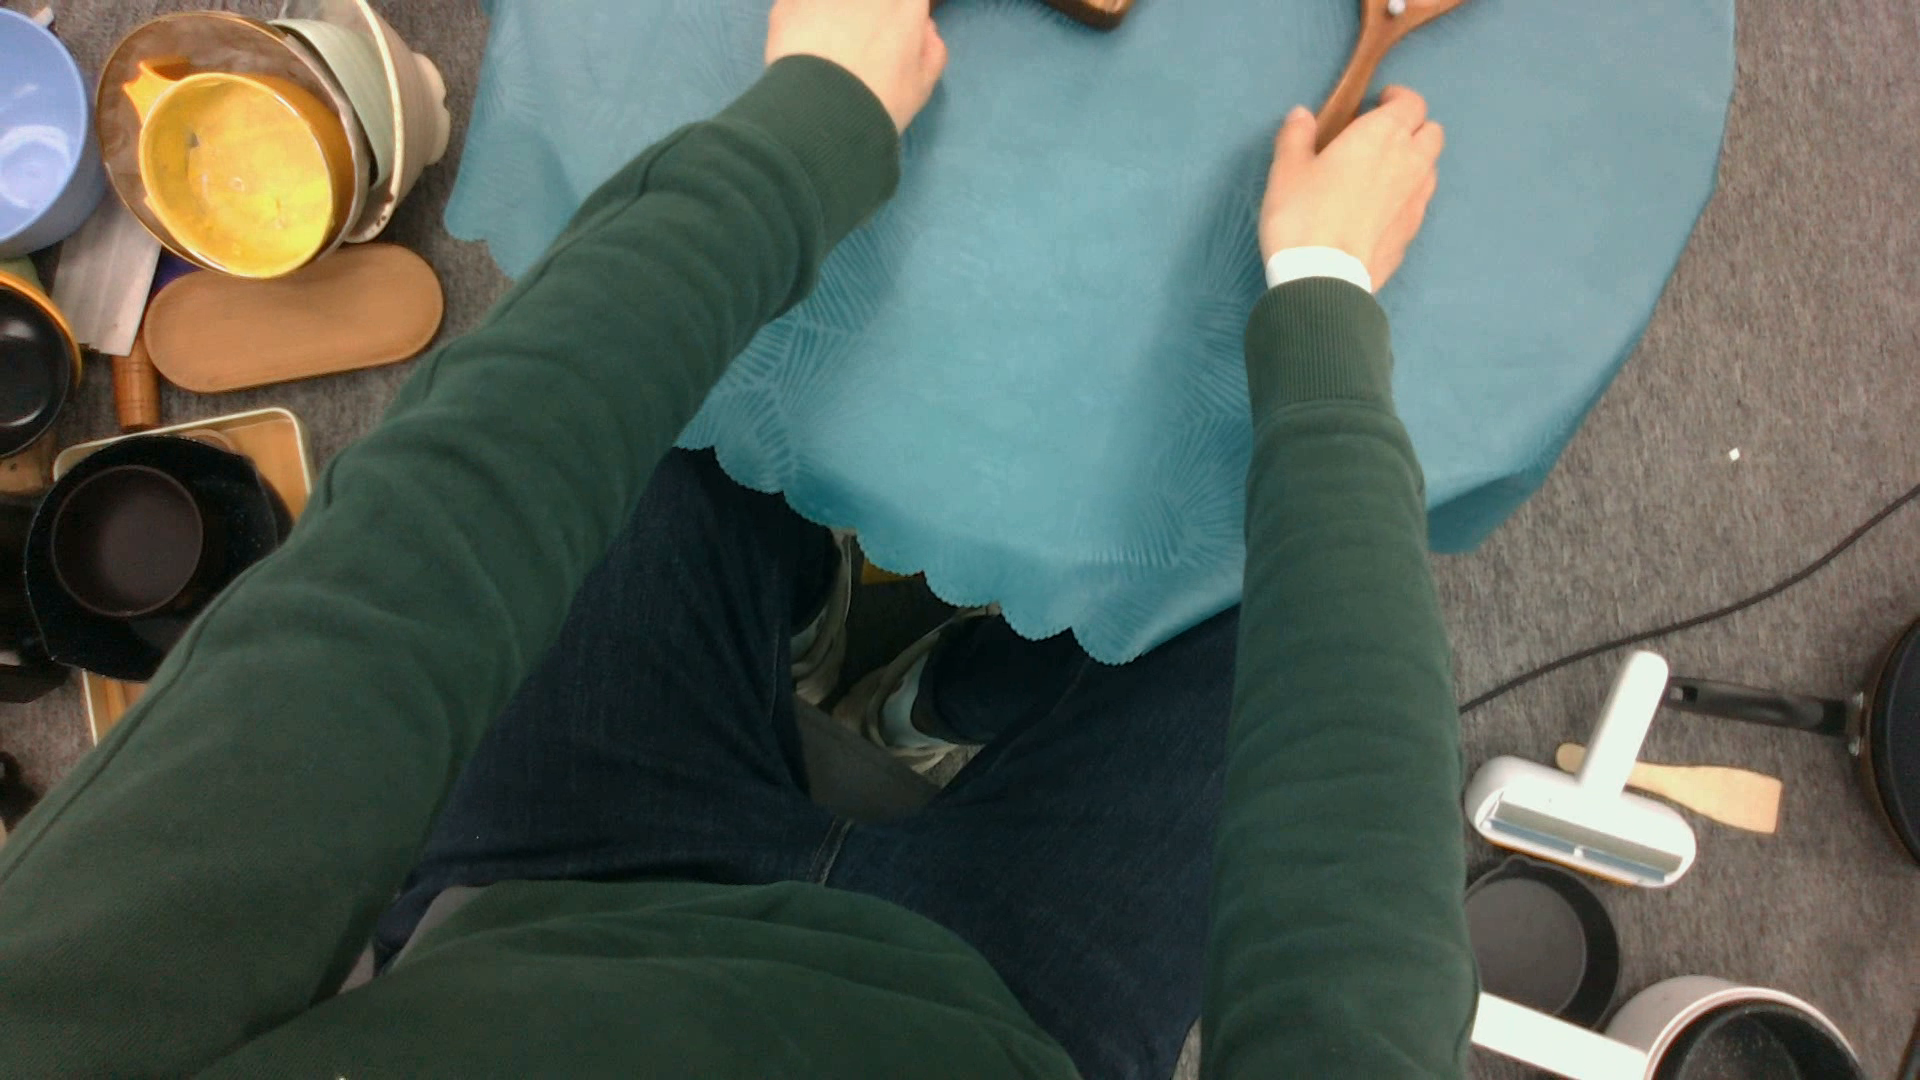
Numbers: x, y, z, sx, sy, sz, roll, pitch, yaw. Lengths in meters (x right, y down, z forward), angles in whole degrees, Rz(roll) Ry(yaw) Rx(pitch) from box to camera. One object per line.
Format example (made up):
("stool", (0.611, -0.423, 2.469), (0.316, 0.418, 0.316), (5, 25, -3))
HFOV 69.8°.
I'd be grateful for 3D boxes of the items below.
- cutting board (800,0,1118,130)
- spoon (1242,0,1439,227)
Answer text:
("cutting board", (0.009, -0.351, 0.654), (0.201, 0.023, 0.352), (26, 81, -4))
("spoon", (0.189, -0.245, 0.665), (0.075, 0.017, 0.216), (28, 81, -5))
